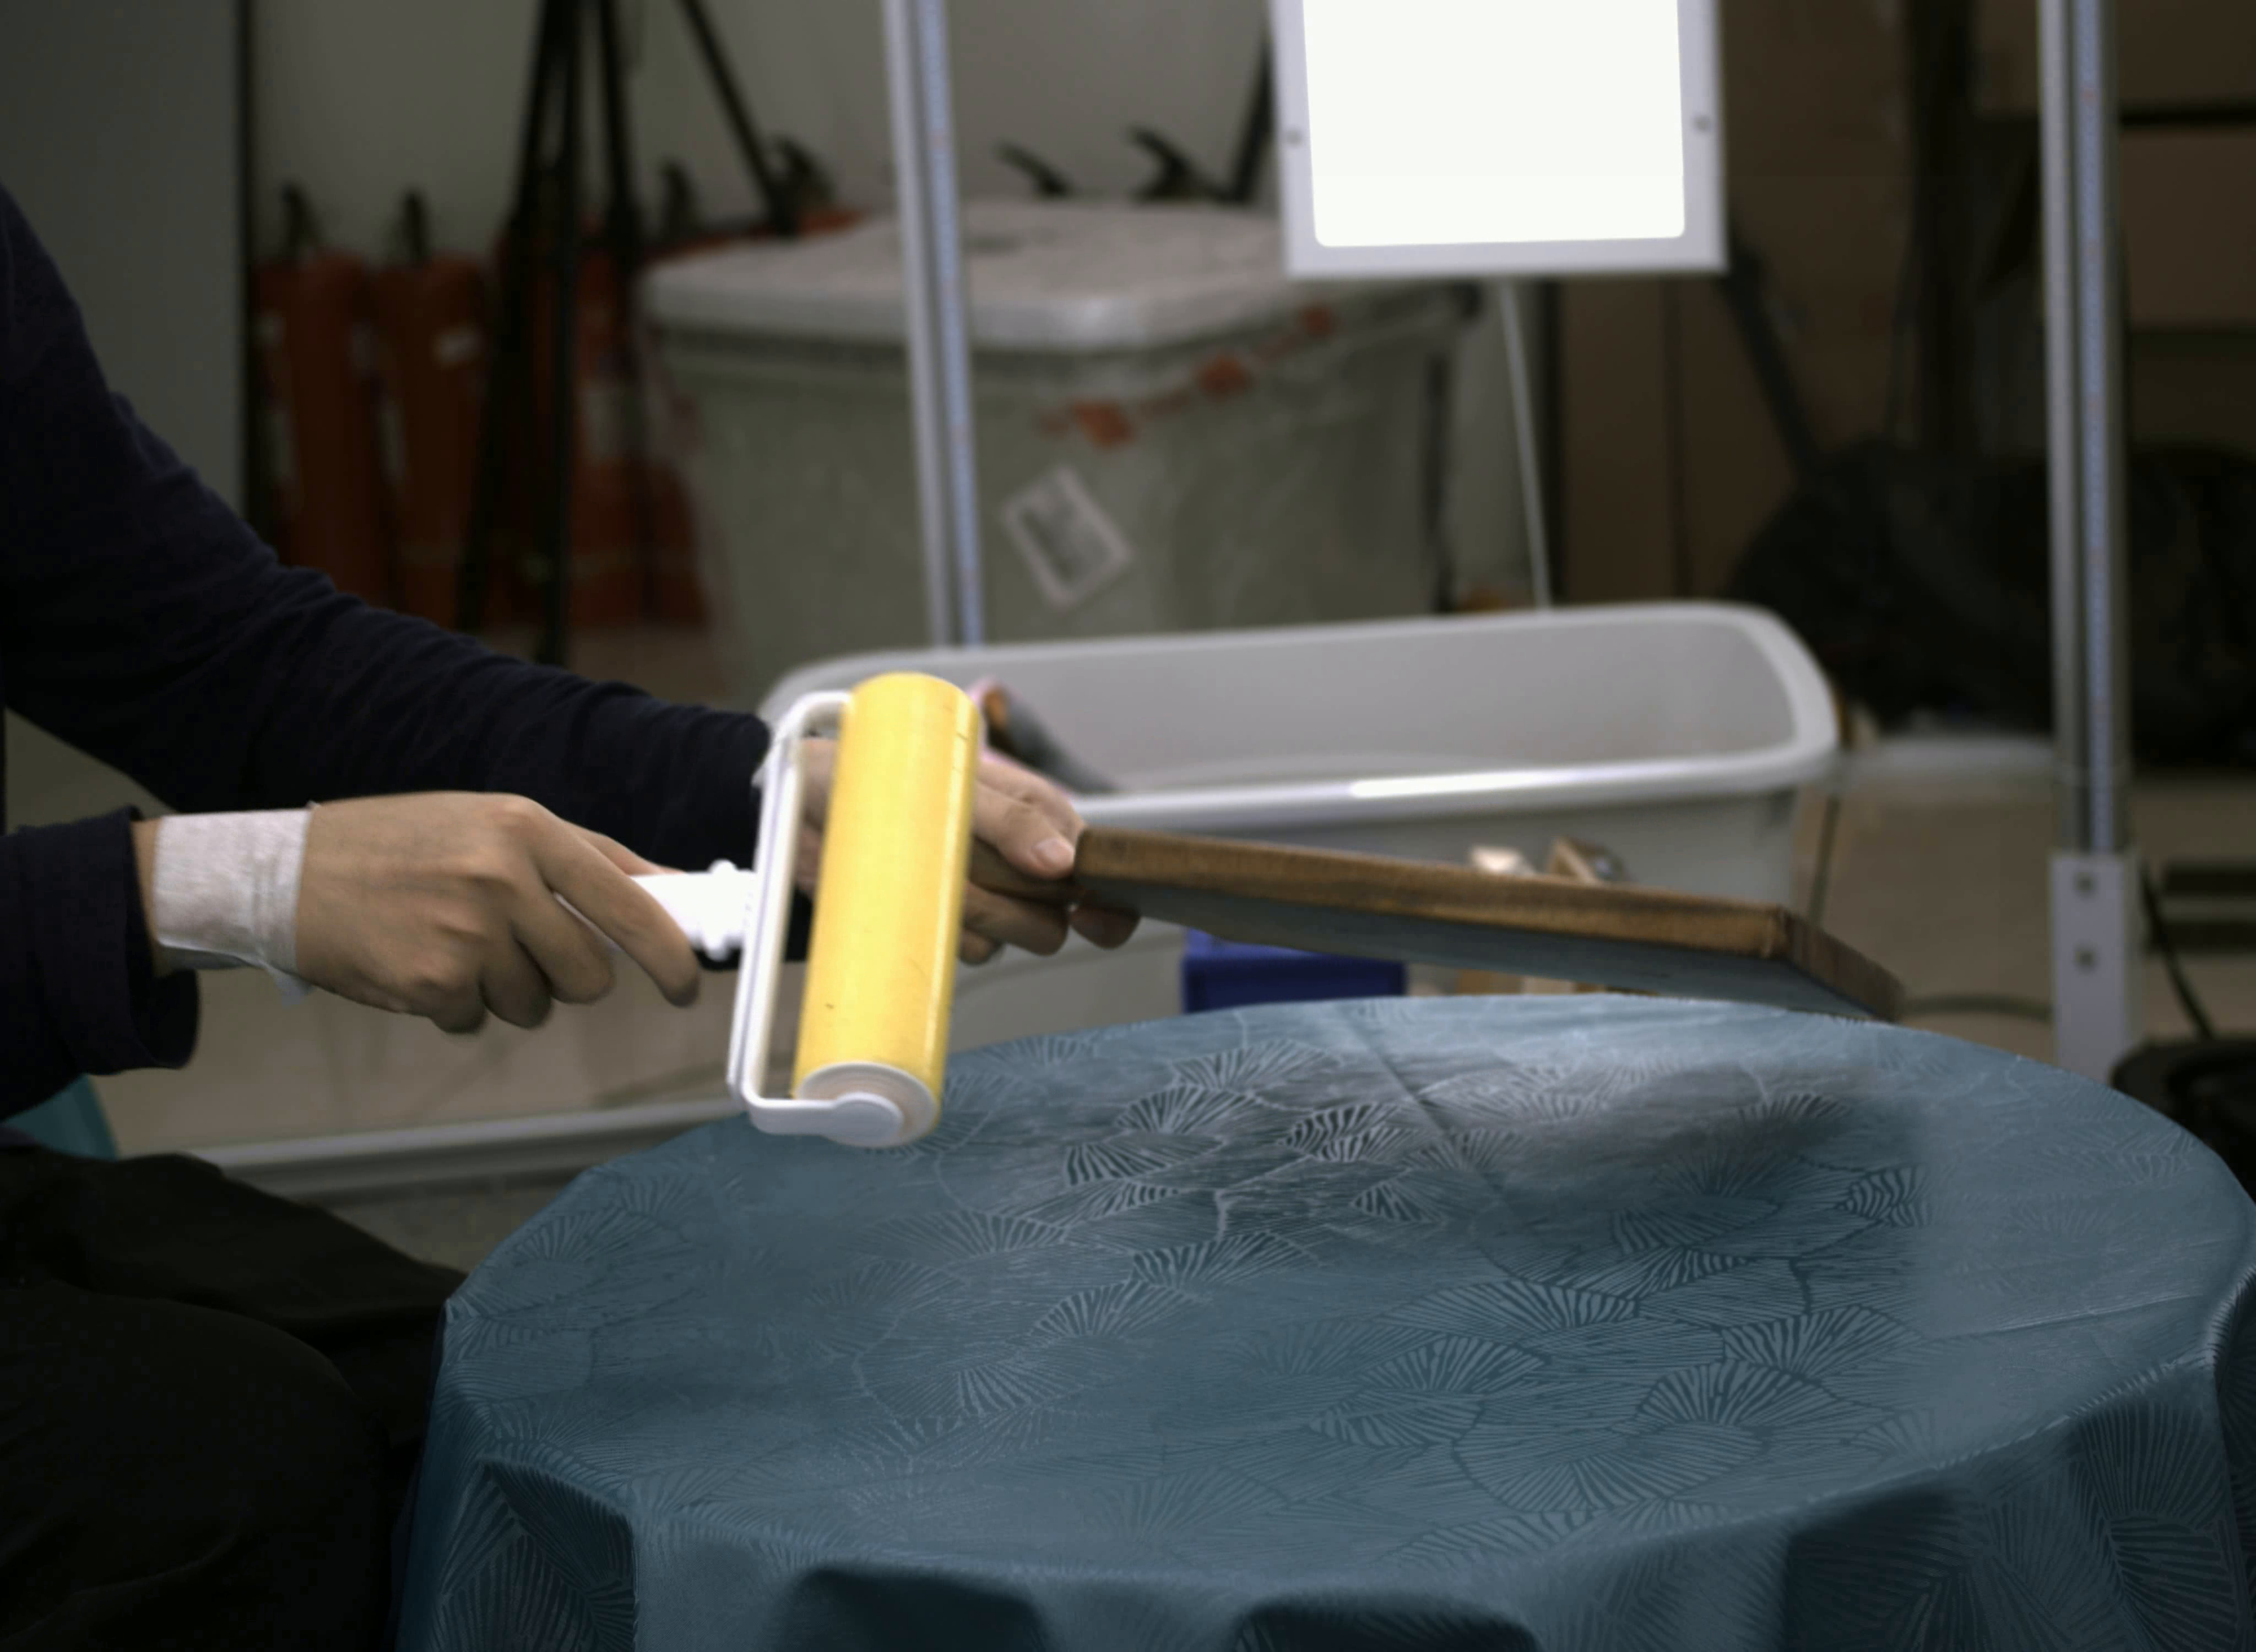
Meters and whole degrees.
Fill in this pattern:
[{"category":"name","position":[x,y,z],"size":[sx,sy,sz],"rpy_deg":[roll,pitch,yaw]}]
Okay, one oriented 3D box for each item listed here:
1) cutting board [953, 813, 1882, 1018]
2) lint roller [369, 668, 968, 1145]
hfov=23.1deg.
[{"category":"cutting board","position":[0.080,0.027,1.933],"size":[0.357,0.023,0.198],"rpy_deg":[6,-7,20]},{"category":"lint roller","position":[-0.151,0.023,1.780],"size":[0.192,0.052,0.173],"rpy_deg":[2,51,2]}]
